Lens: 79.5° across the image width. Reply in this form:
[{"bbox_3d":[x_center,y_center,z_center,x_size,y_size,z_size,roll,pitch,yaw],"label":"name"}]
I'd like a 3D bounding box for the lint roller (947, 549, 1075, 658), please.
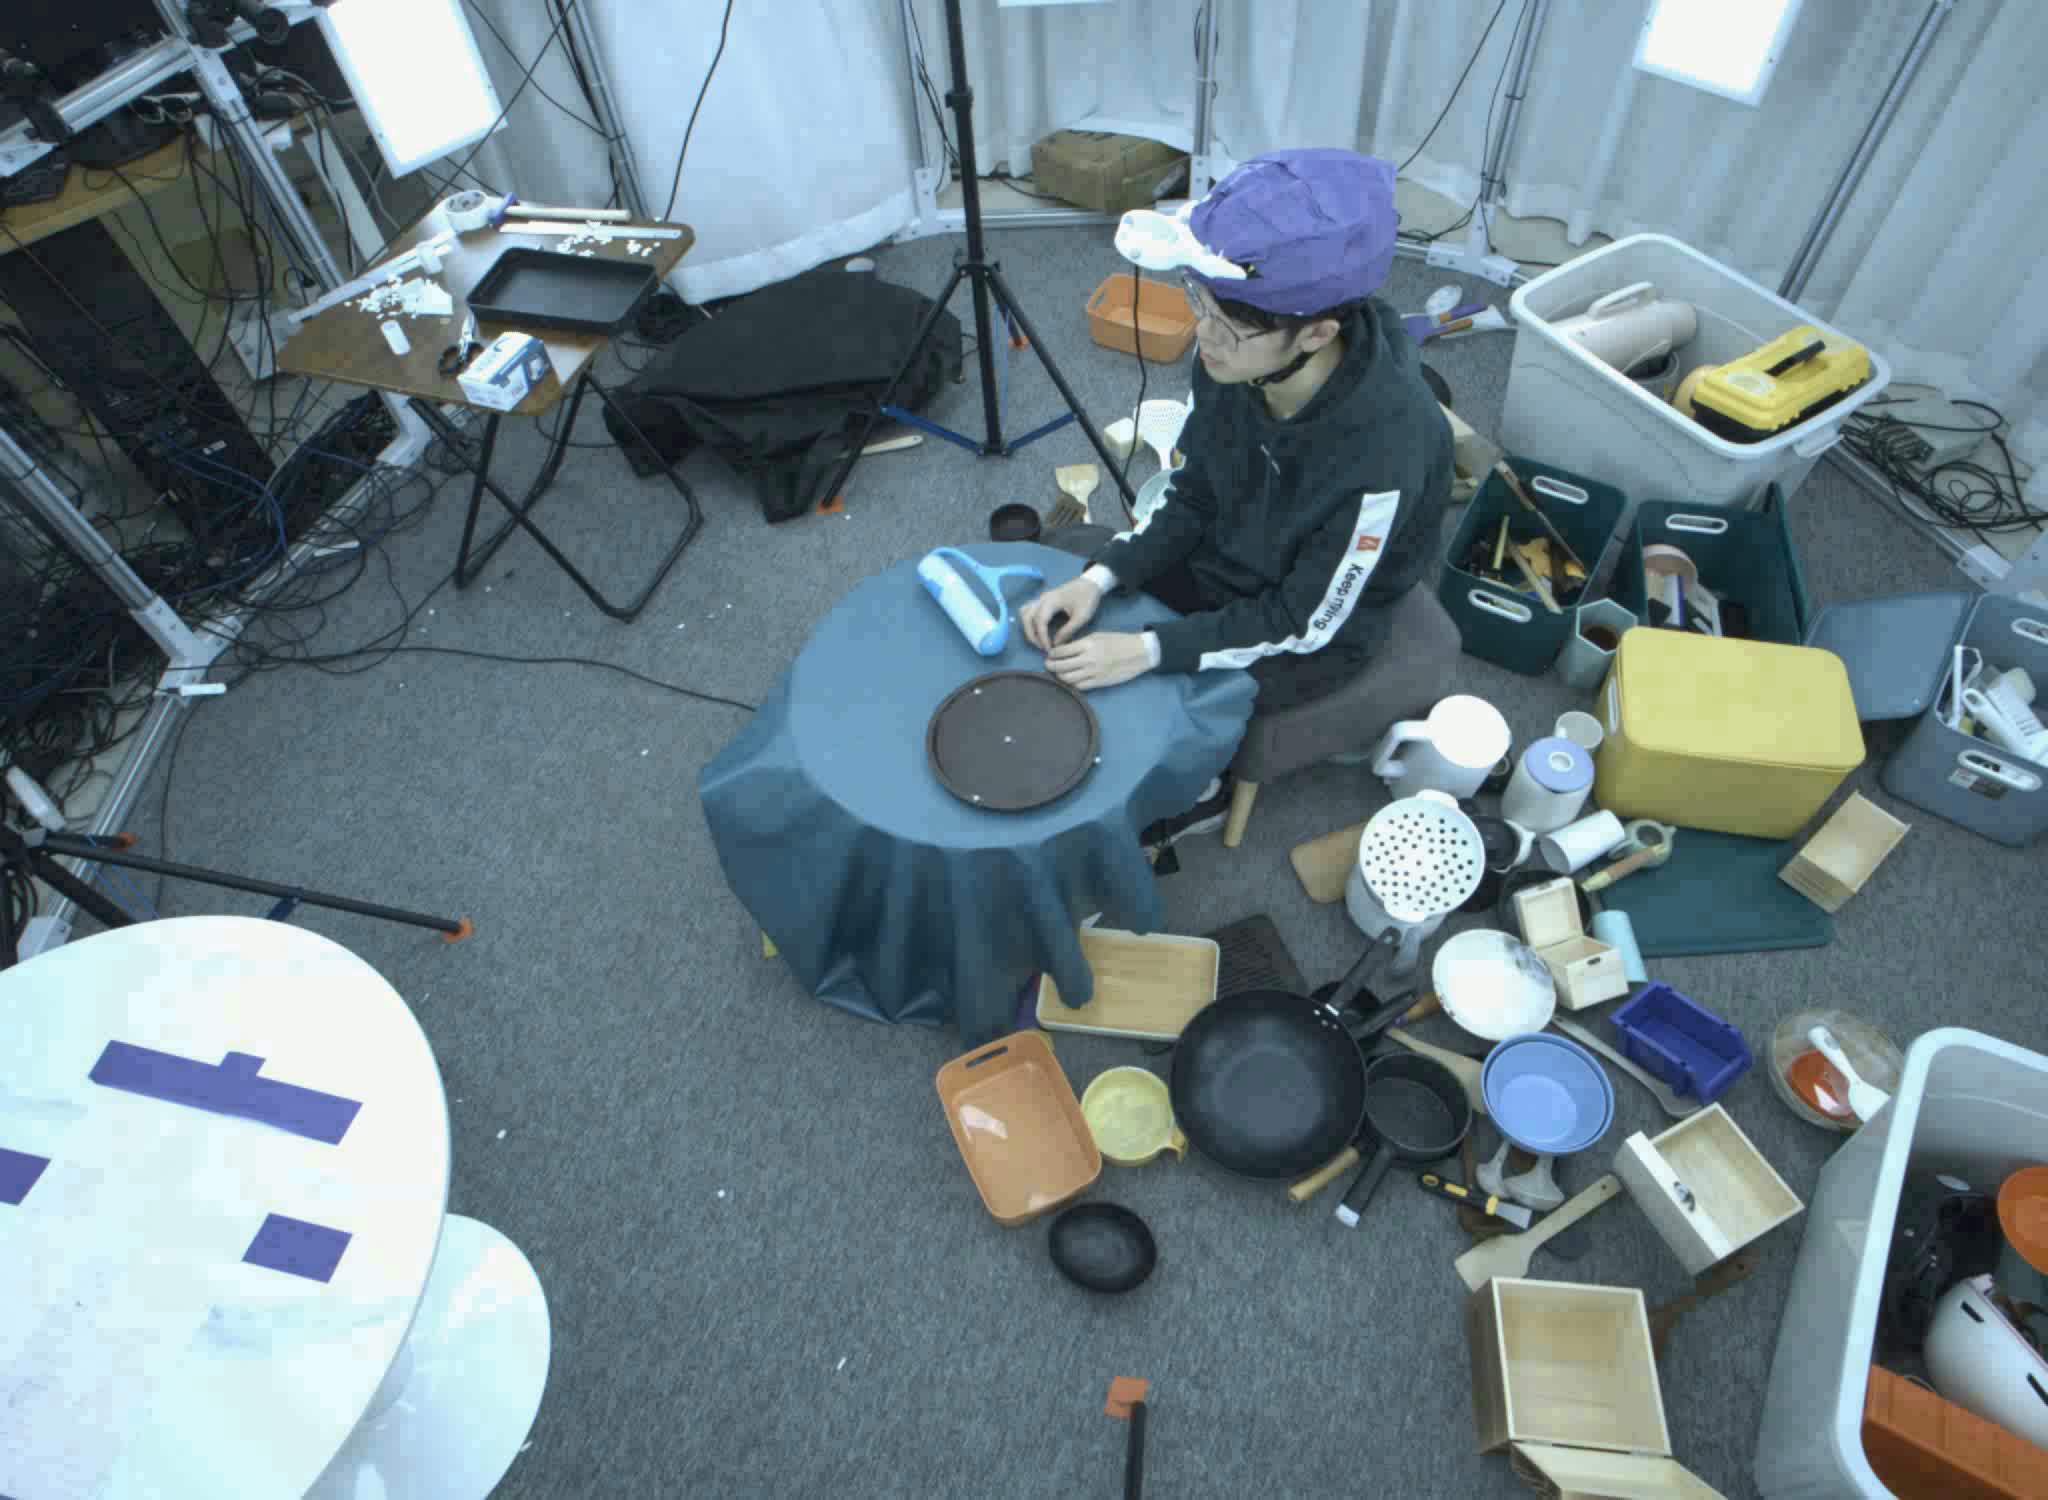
[{"bbox_3d":[-0.002,-0.253,1.928,0.181,0.069,0.224,-29,57,-16],"label":"lint roller"}]

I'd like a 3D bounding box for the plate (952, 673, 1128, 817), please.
[{"bbox_3d":[0.023,-0.009,1.774,0.254,0.029,0.252,0,56,2],"label":"plate"}]
